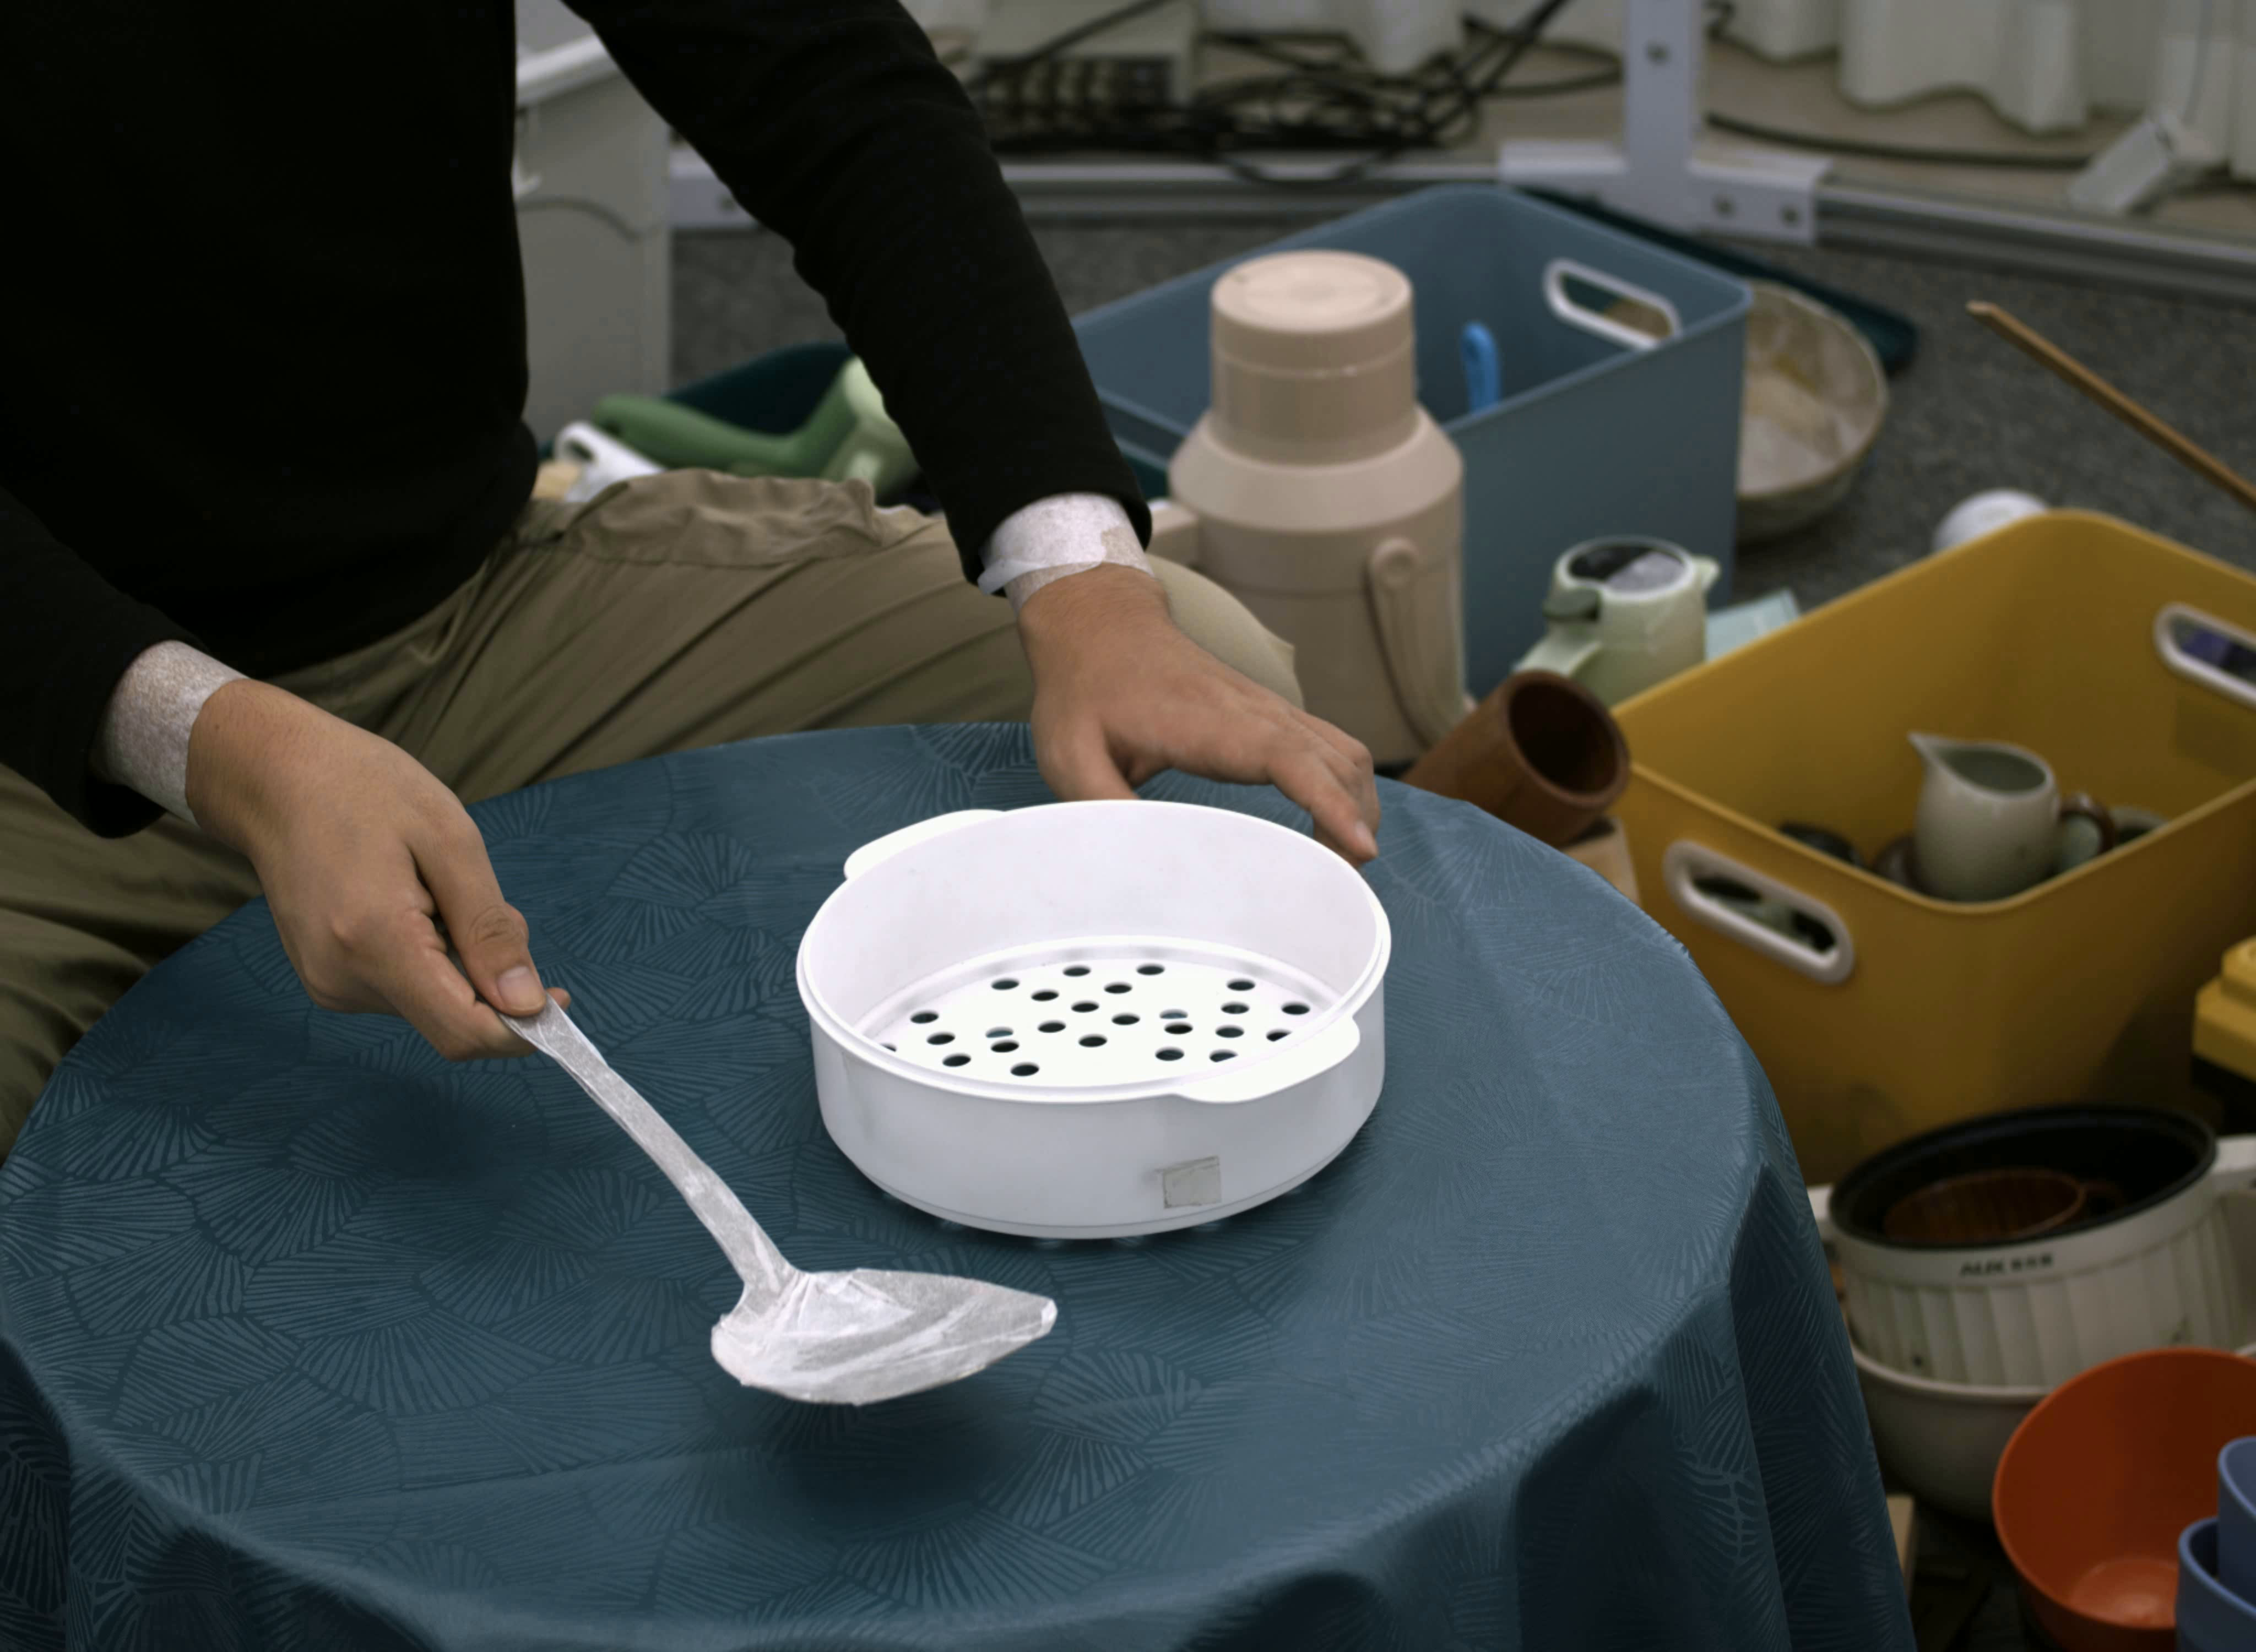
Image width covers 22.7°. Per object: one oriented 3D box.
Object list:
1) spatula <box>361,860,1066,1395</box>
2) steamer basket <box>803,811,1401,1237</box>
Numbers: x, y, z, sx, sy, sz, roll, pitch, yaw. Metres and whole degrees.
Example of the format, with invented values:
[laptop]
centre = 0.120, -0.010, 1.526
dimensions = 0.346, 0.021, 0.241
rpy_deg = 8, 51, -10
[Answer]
[spatula]
centre = -0.156, 0.088, 1.808
dimensions = 0.099, 0.044, 0.367
rpy_deg = -18, 41, -32
[steamer basket]
centre = -0.007, 0.067, 1.892
dimensions = 0.203, 0.068, 0.231
rpy_deg = -19, 30, -31
